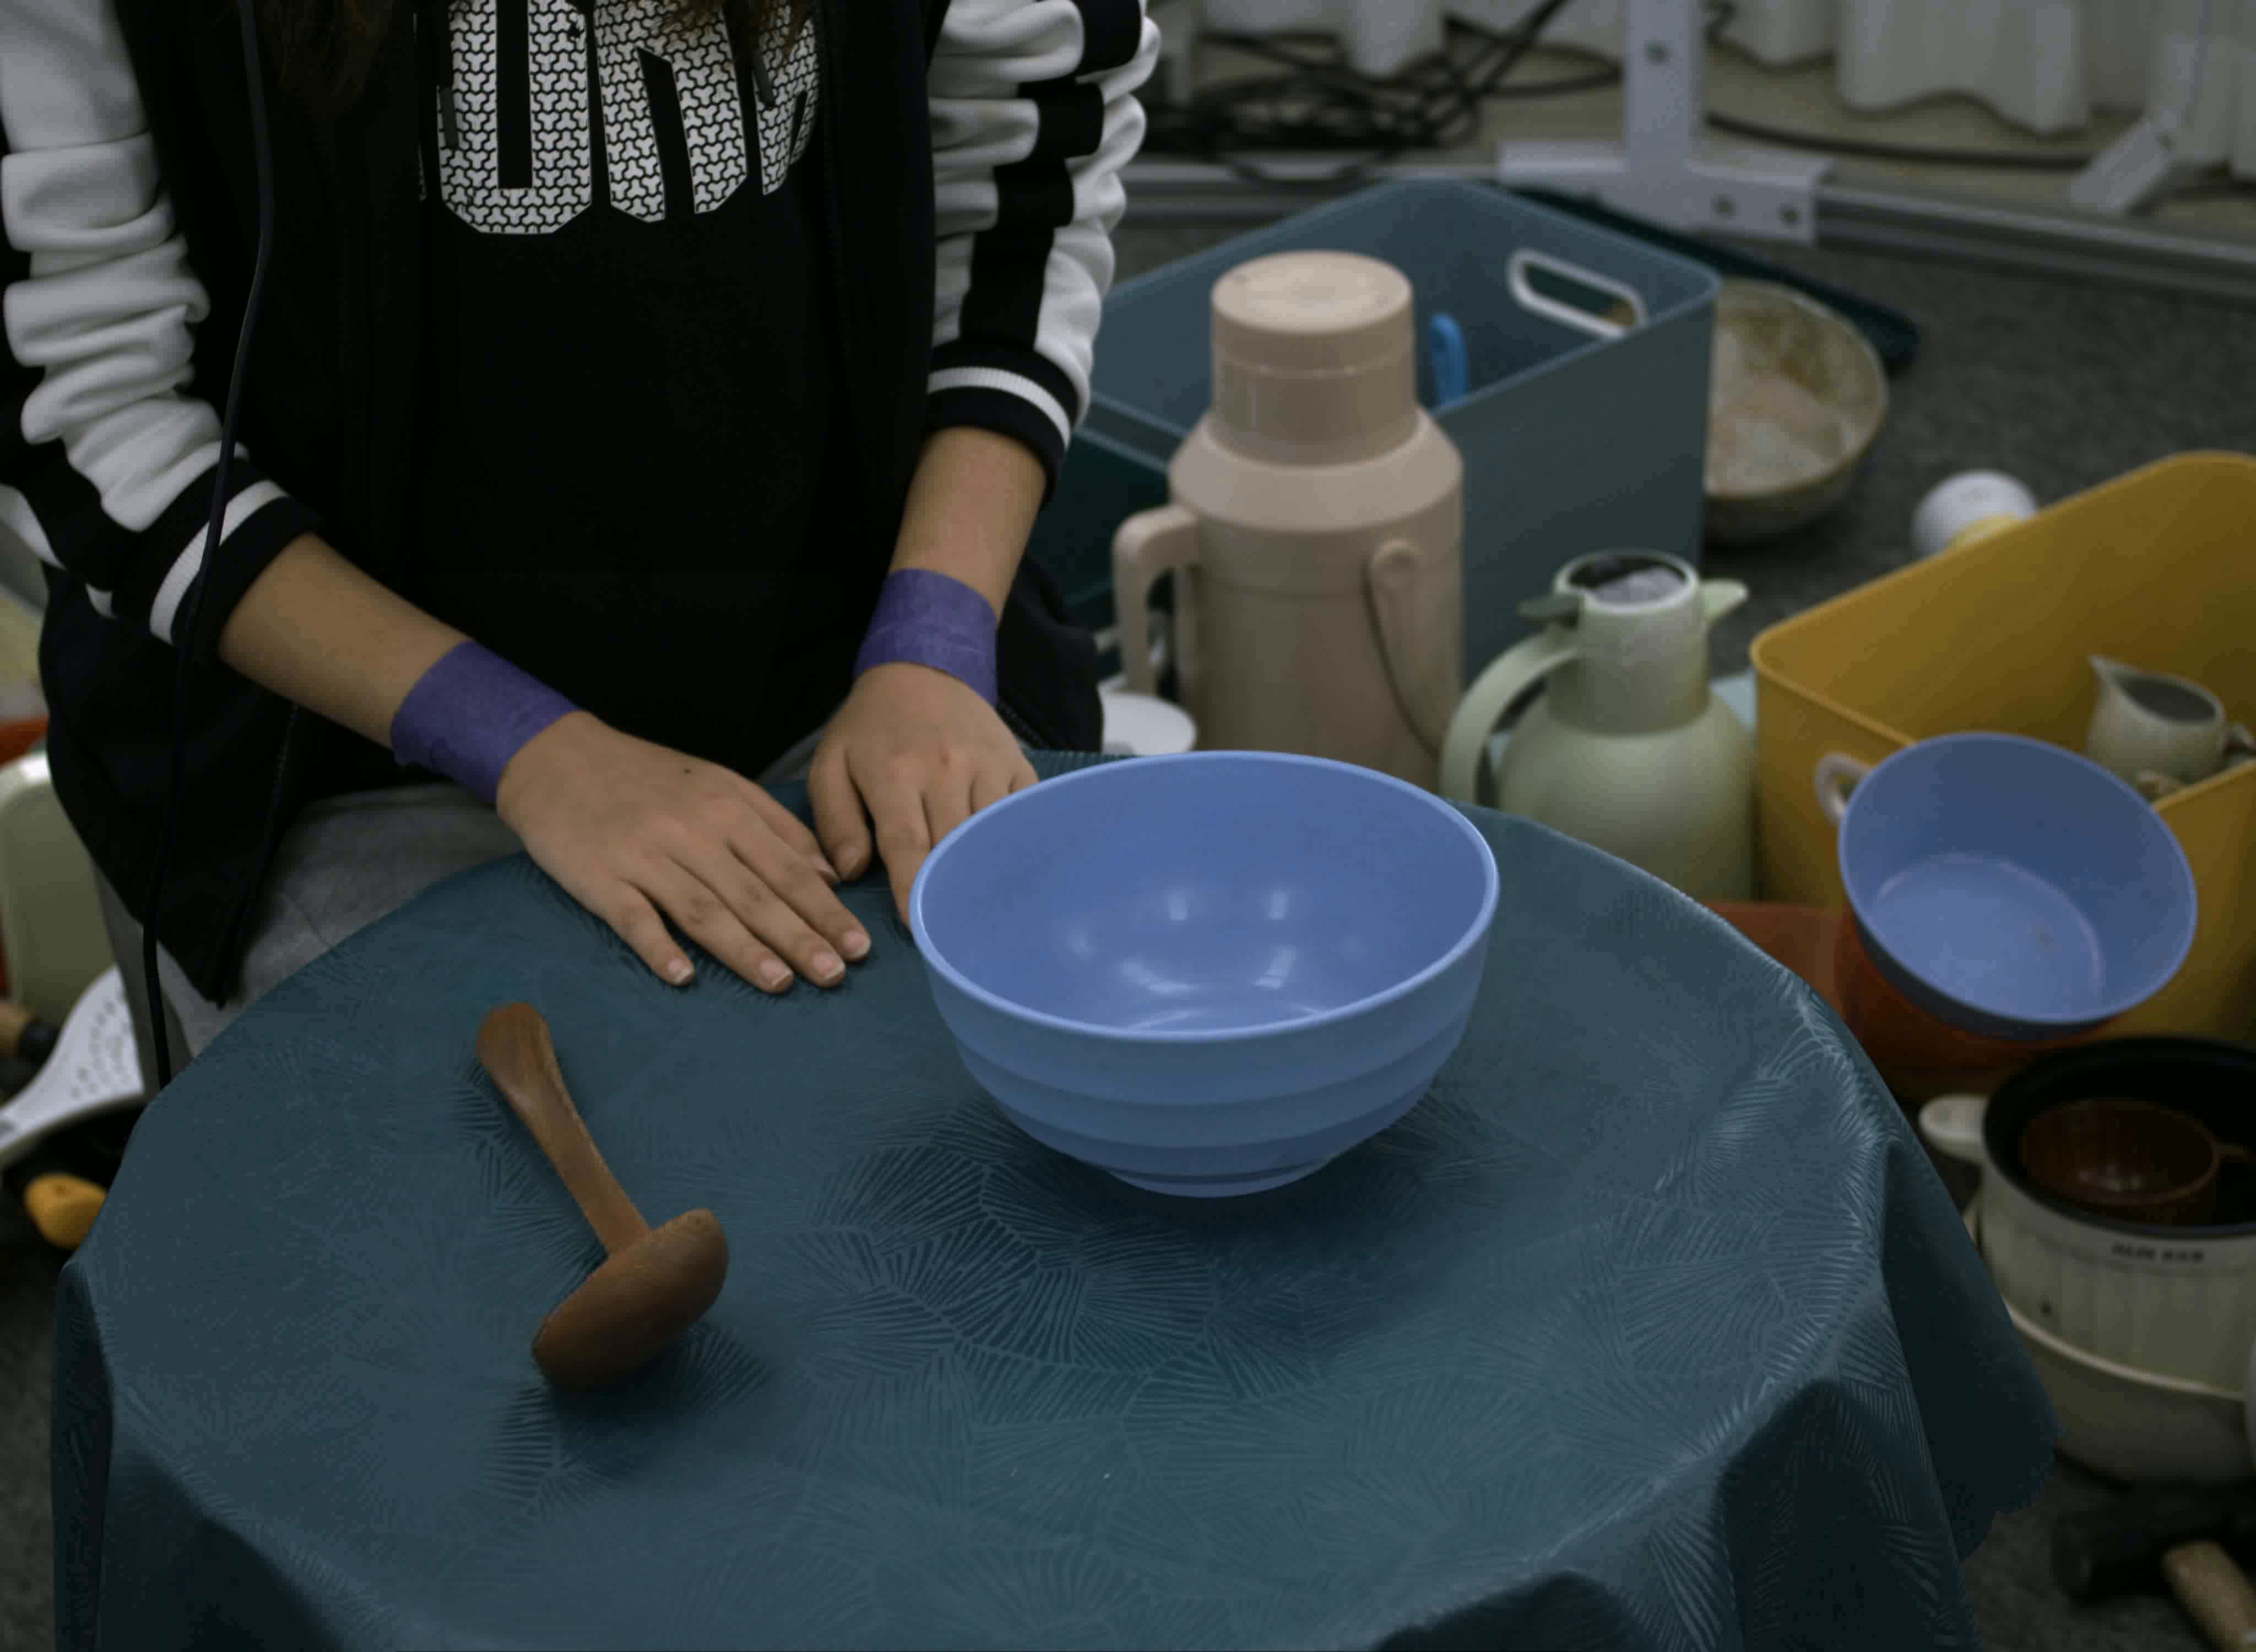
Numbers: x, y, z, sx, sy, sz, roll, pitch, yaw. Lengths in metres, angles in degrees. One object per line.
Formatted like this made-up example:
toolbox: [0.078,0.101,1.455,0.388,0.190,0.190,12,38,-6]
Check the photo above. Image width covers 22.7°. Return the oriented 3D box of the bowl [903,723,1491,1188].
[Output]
bowl: [0.027,0.057,1.883,0.195,0.094,0.200,-5,32,3]

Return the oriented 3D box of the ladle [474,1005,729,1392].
ladle: [-0.188,0.107,1.844,0.076,0.064,0.262,-35,32,-1]
